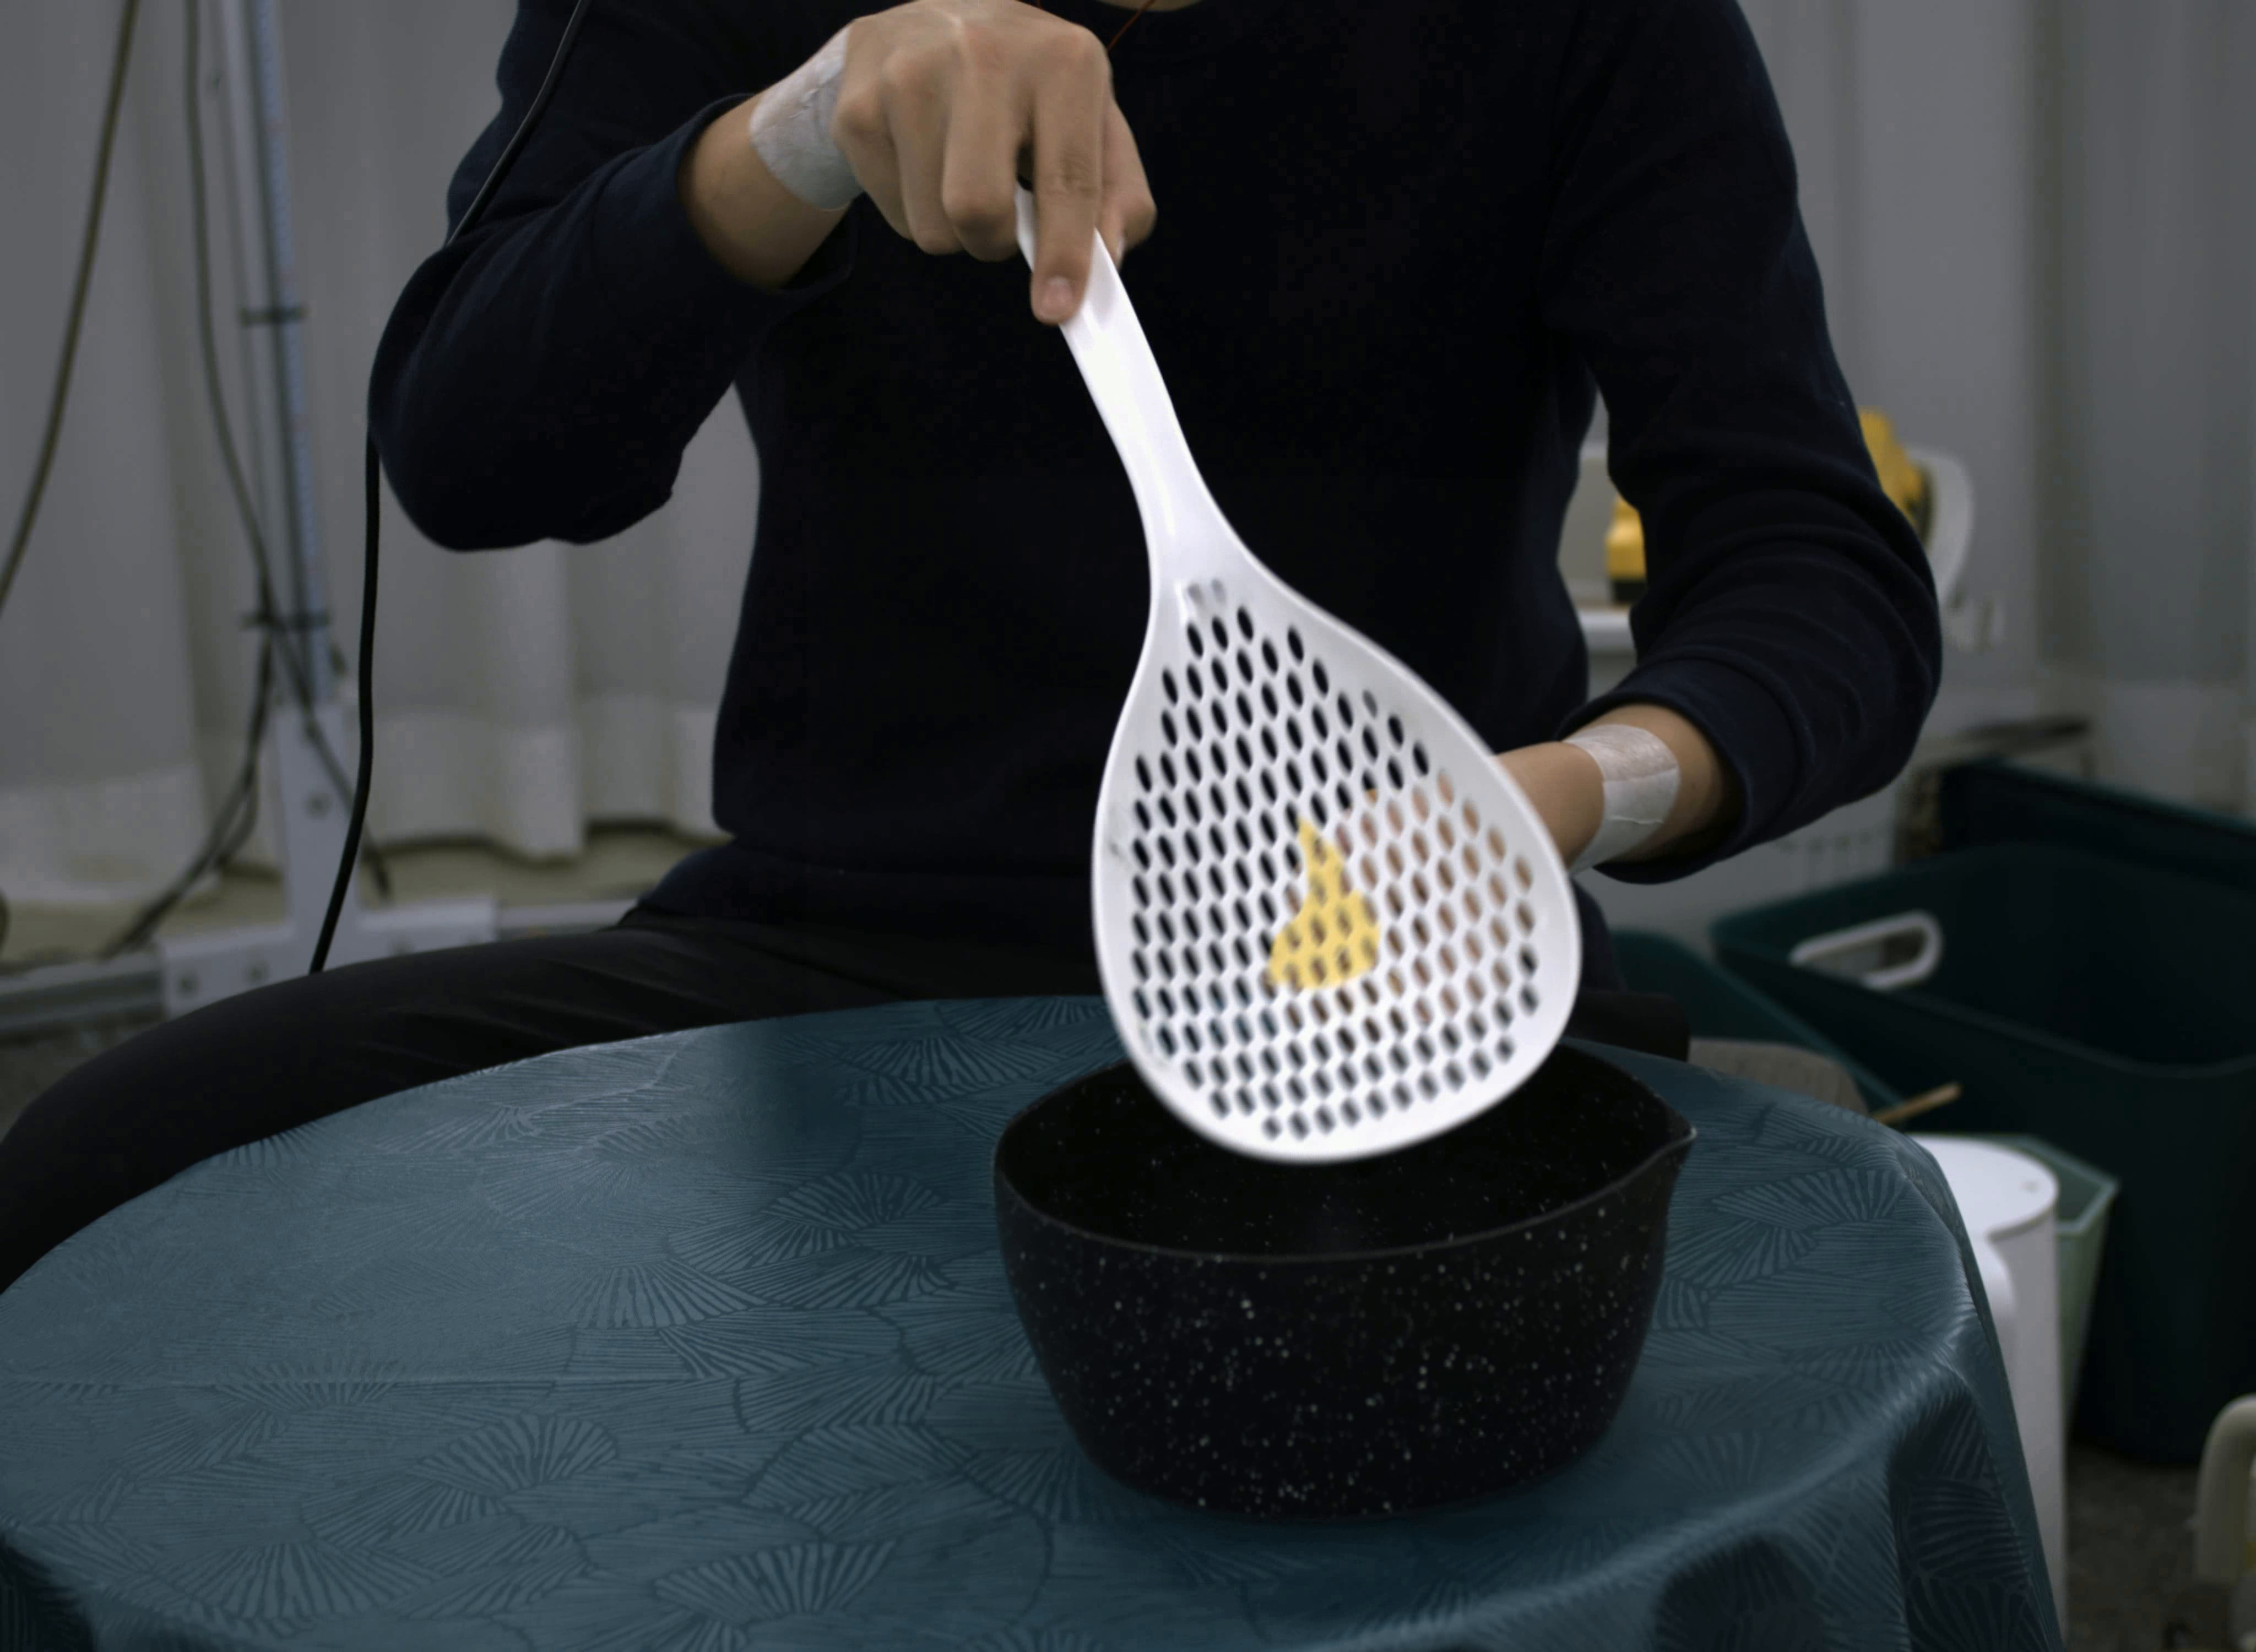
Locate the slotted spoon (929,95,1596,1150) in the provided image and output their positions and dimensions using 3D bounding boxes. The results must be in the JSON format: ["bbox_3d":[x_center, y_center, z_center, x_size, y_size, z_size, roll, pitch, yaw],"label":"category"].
[{"bbox_3d":[0.020,-0.069,1.582,0.136,0.351,0.050,-22,-14,-5],"label":"slotted spoon"}]

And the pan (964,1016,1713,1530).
[{"bbox_3d":[0.065,0.089,1.574,0.207,0.107,0.345,-3,18,6],"label":"pan"}]
